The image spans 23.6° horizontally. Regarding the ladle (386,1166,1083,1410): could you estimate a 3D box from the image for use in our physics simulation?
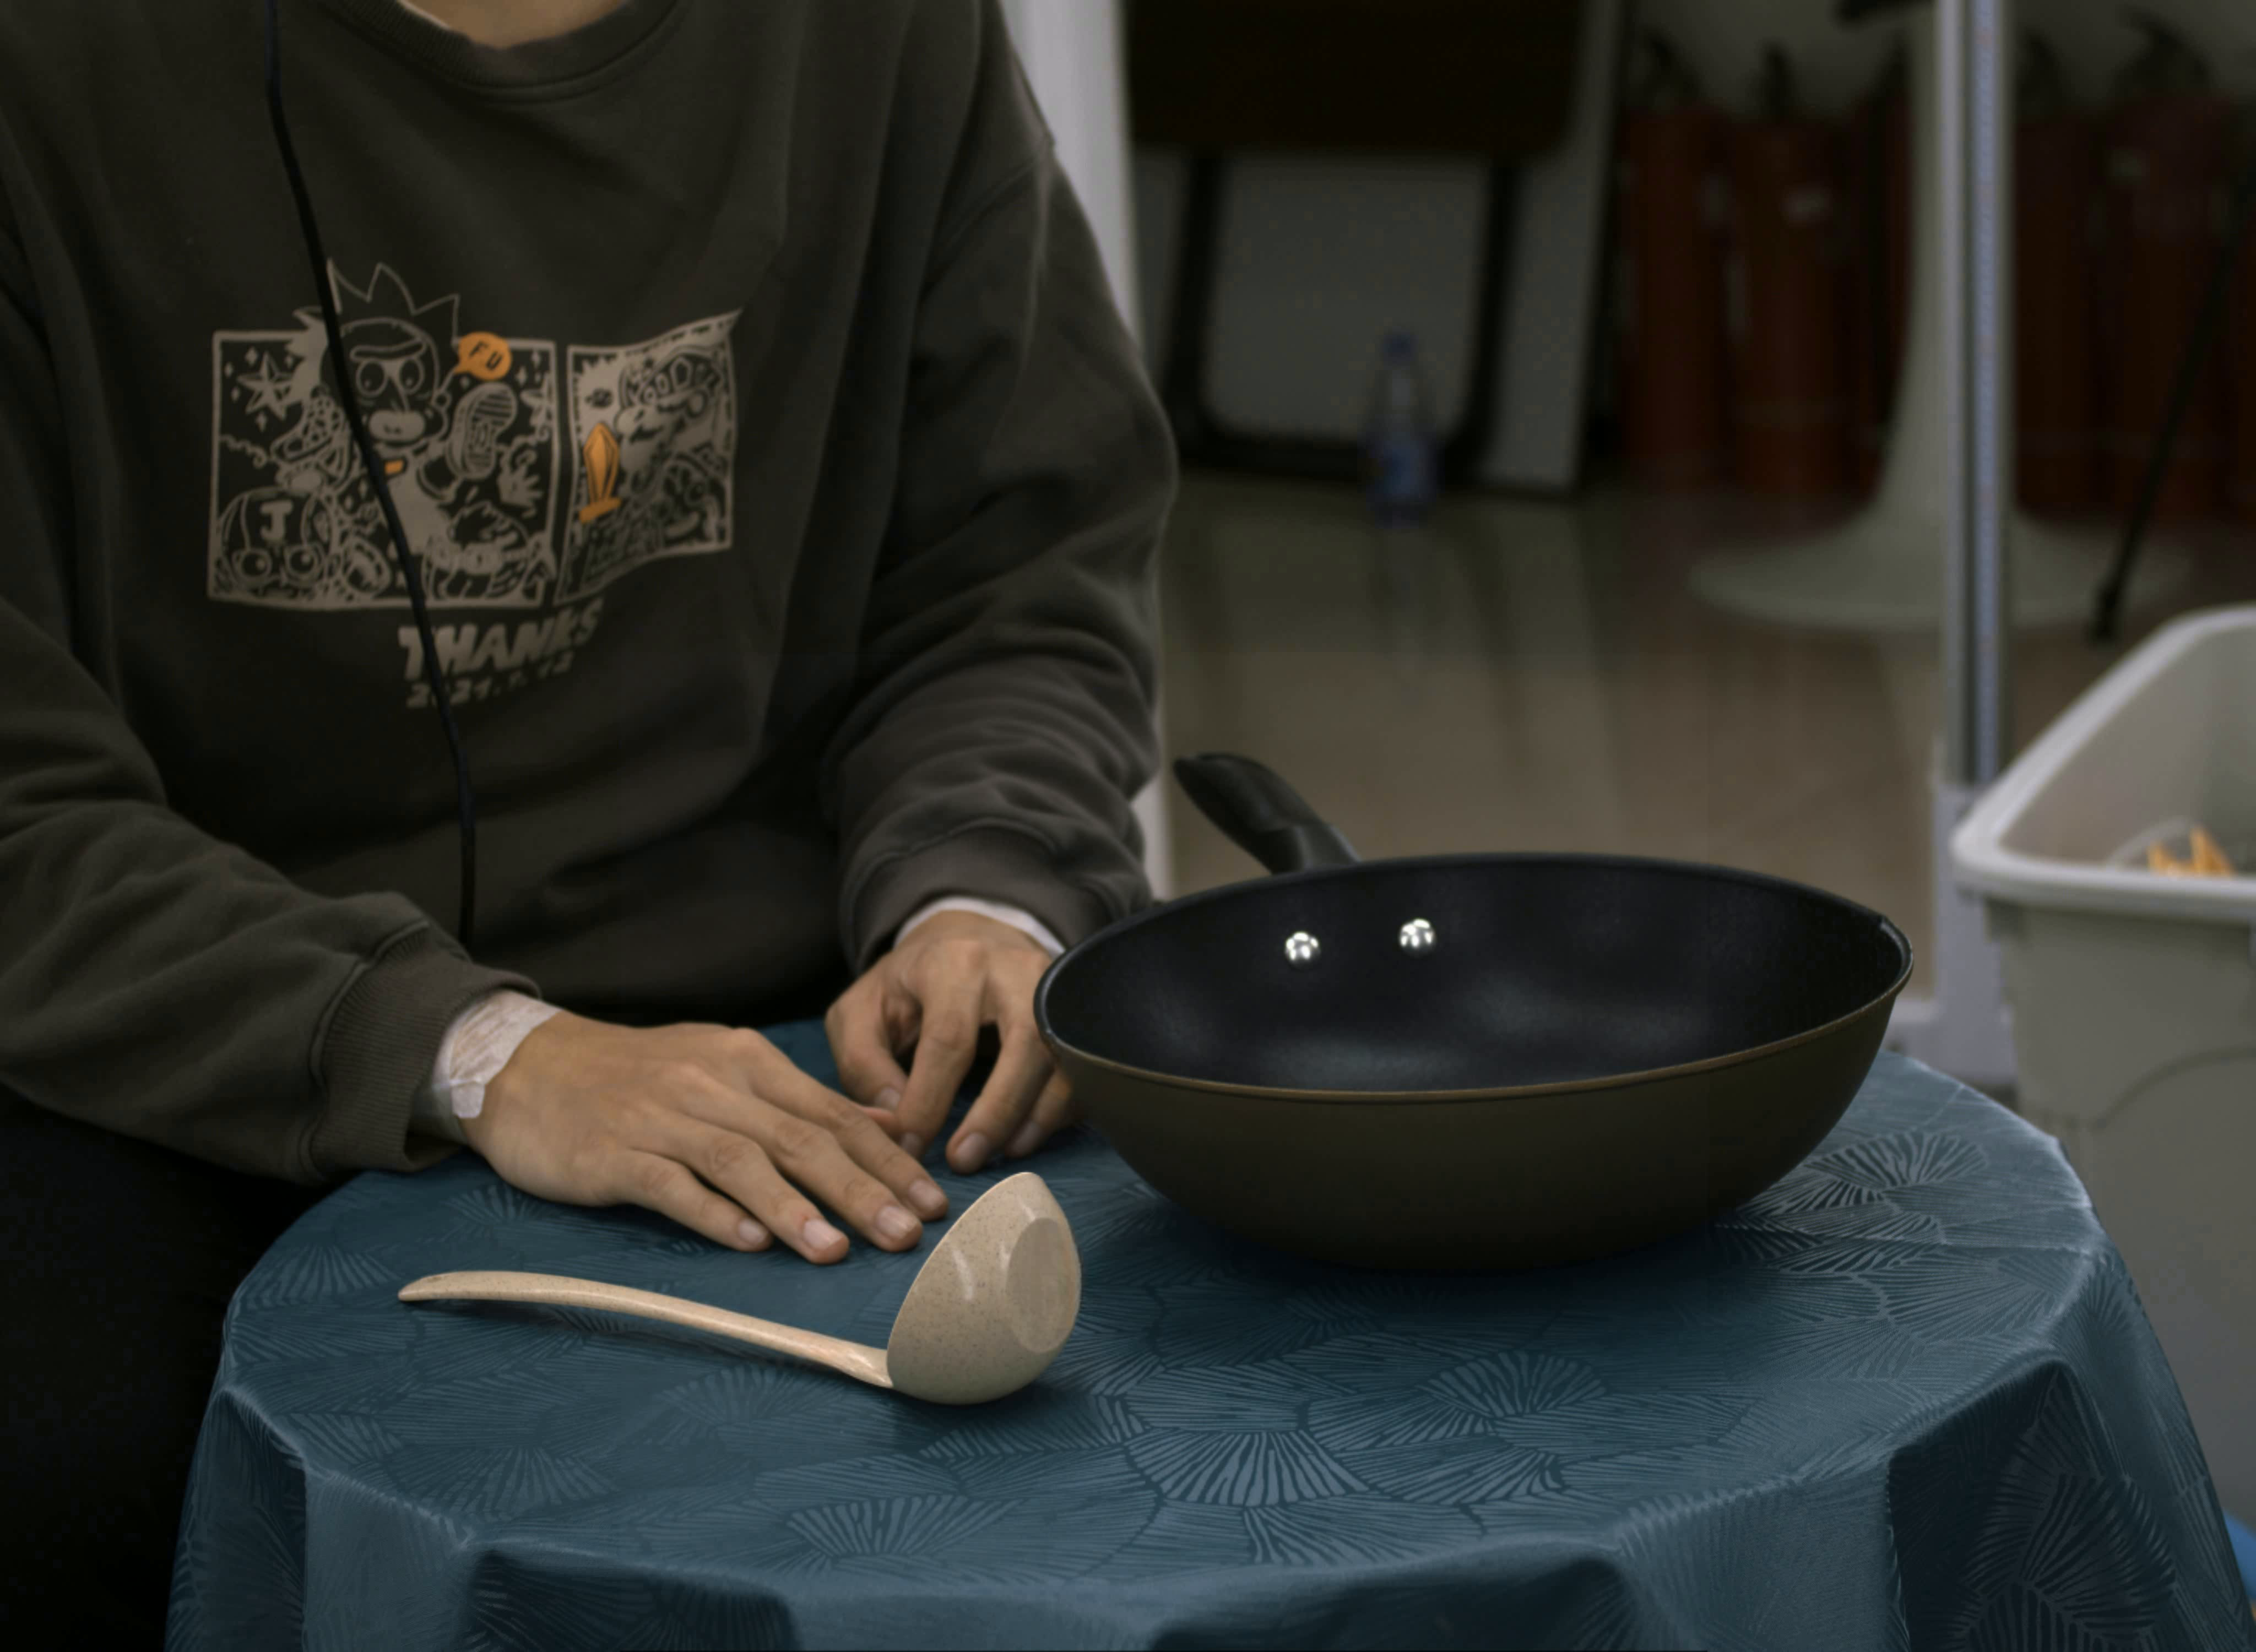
[{"bbox_3d":[-0.129,0.128,1.634,0.255,0.073,0.071,5,21,32],"label":"ladle"}]

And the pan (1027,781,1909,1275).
[{"bbox_3d":[0.088,0.065,1.811,0.283,0.088,0.466,-7,13,-13],"label":"pan"}]
